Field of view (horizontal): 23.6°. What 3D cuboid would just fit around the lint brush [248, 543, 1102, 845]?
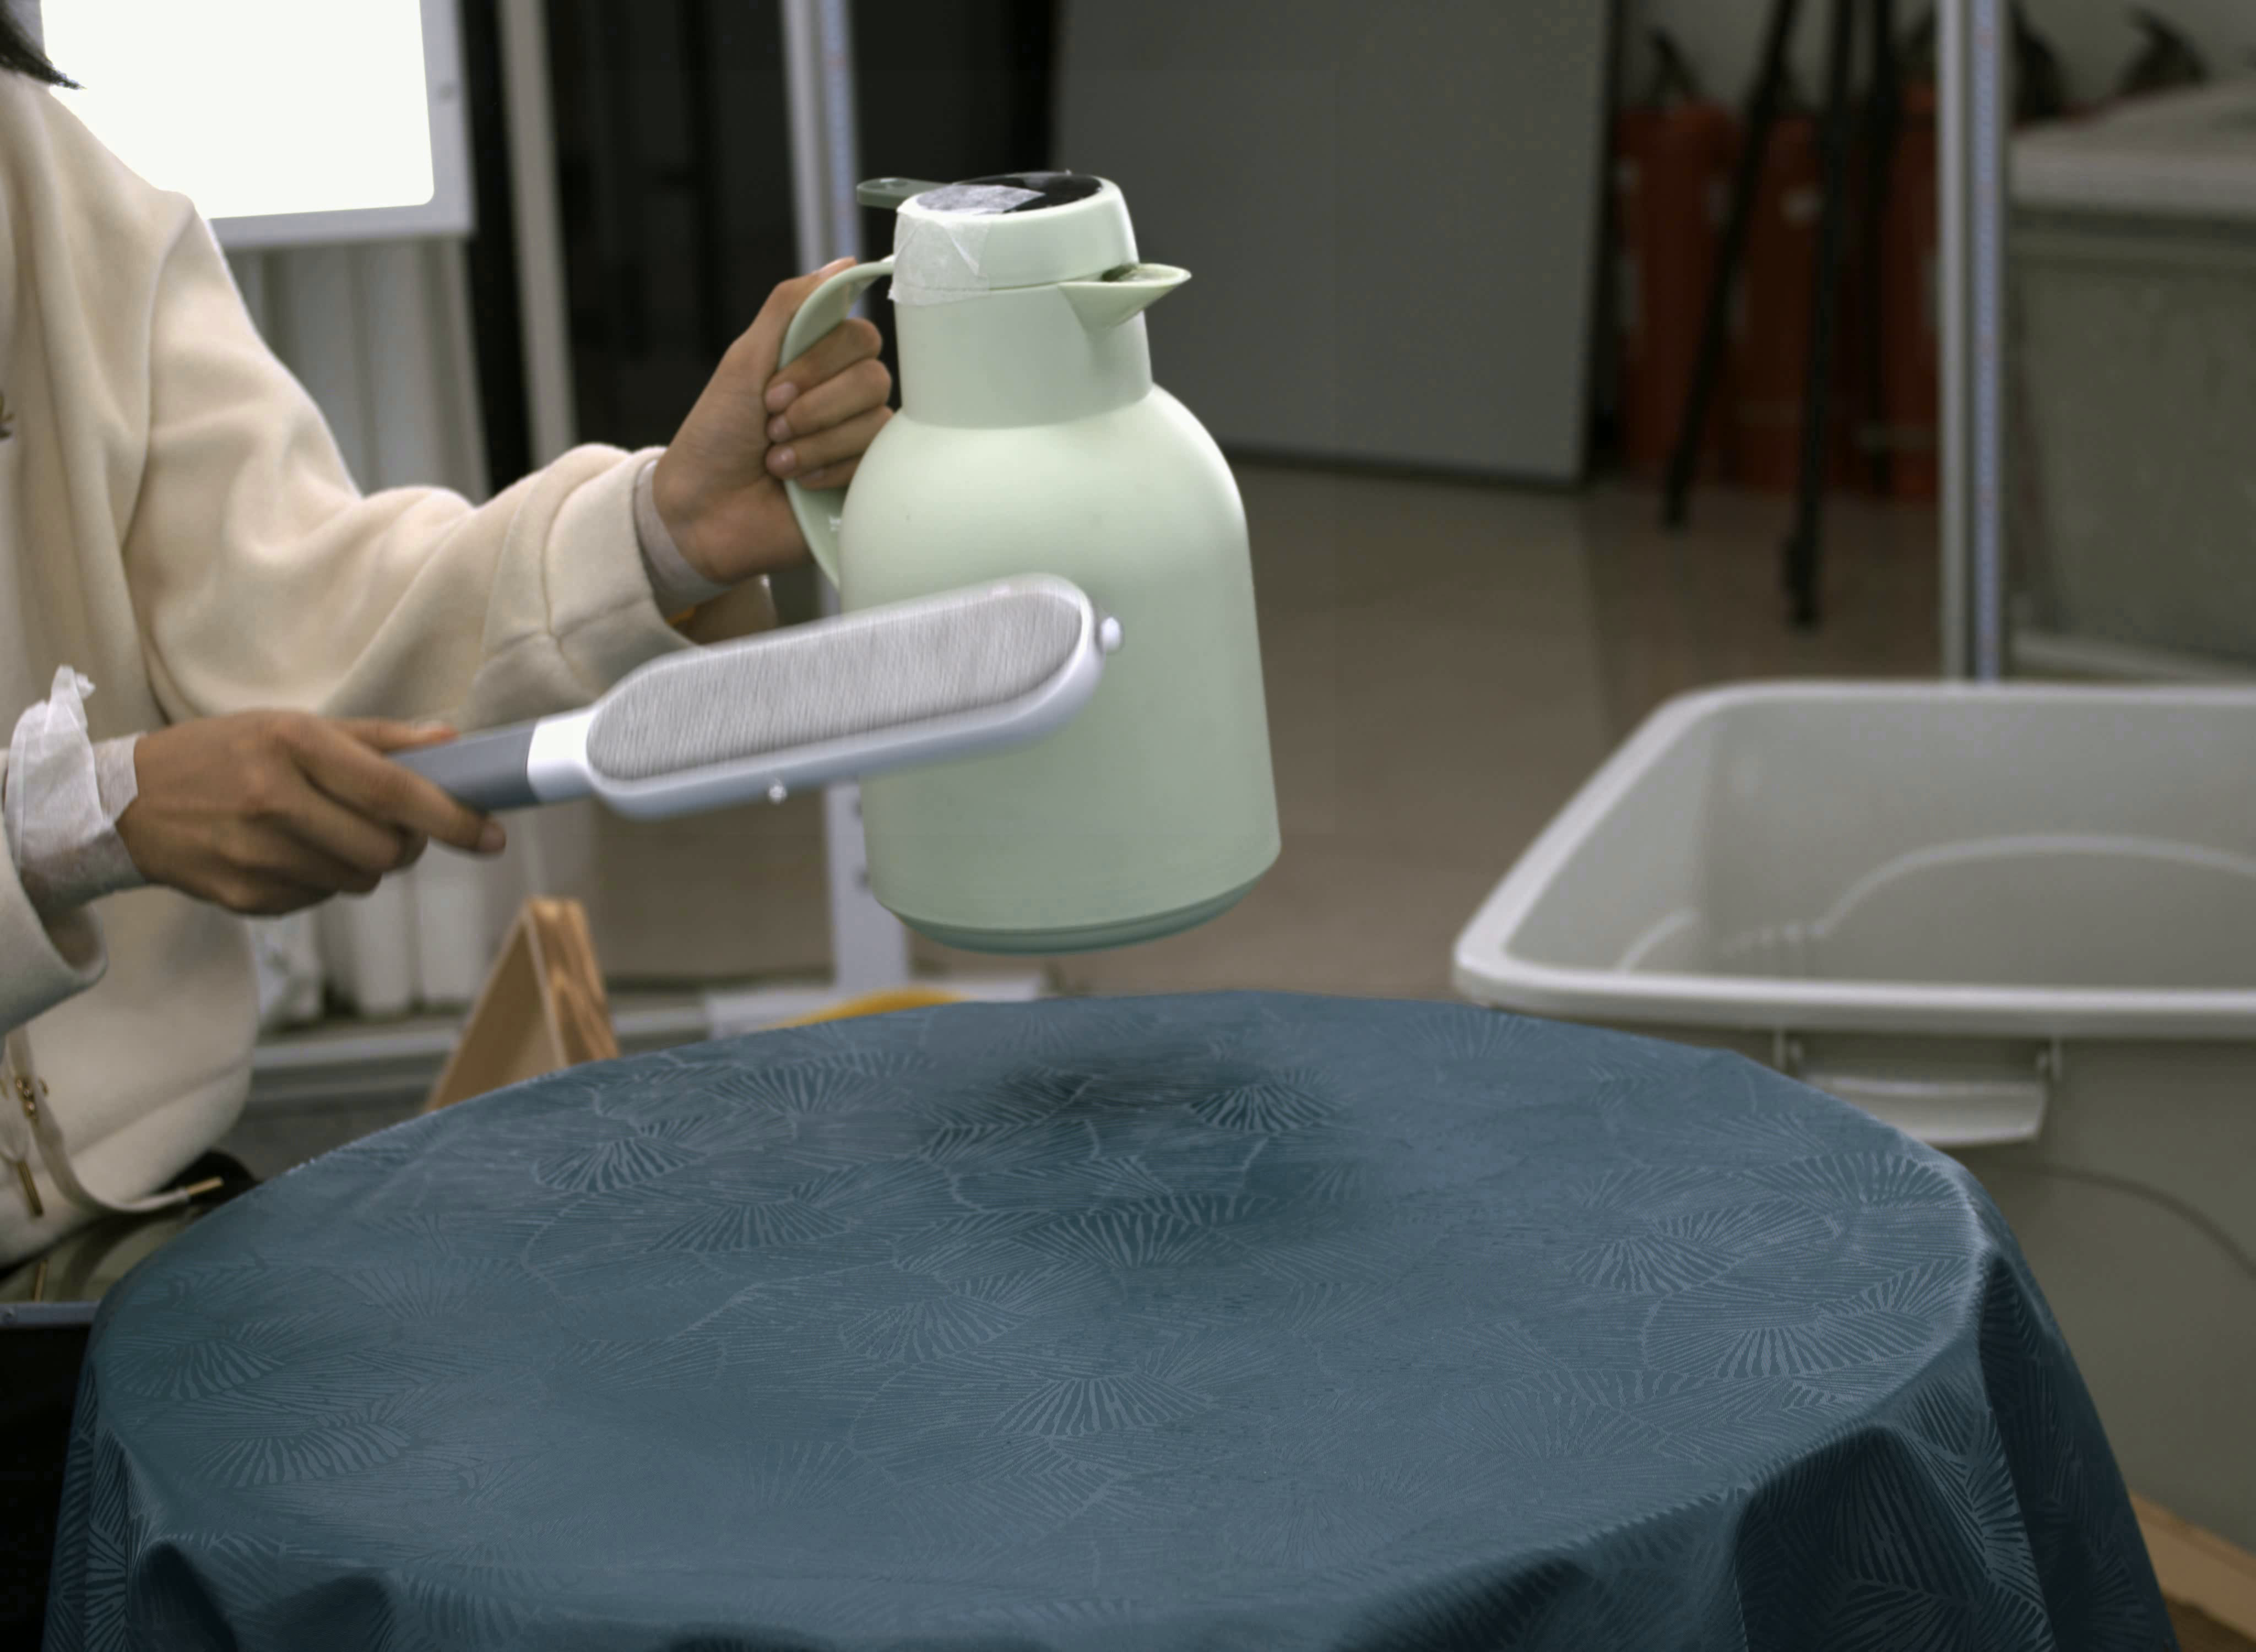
[{"bbox_3d":[-0.146,-0.036,1.690,0.309,0.021,0.060,-13,48,25],"label":"lint brush"}]

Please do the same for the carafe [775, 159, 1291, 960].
[{"bbox_3d":[-0.039,-0.095,1.848,0.188,0.259,0.141,4,20,42],"label":"carafe"}]
